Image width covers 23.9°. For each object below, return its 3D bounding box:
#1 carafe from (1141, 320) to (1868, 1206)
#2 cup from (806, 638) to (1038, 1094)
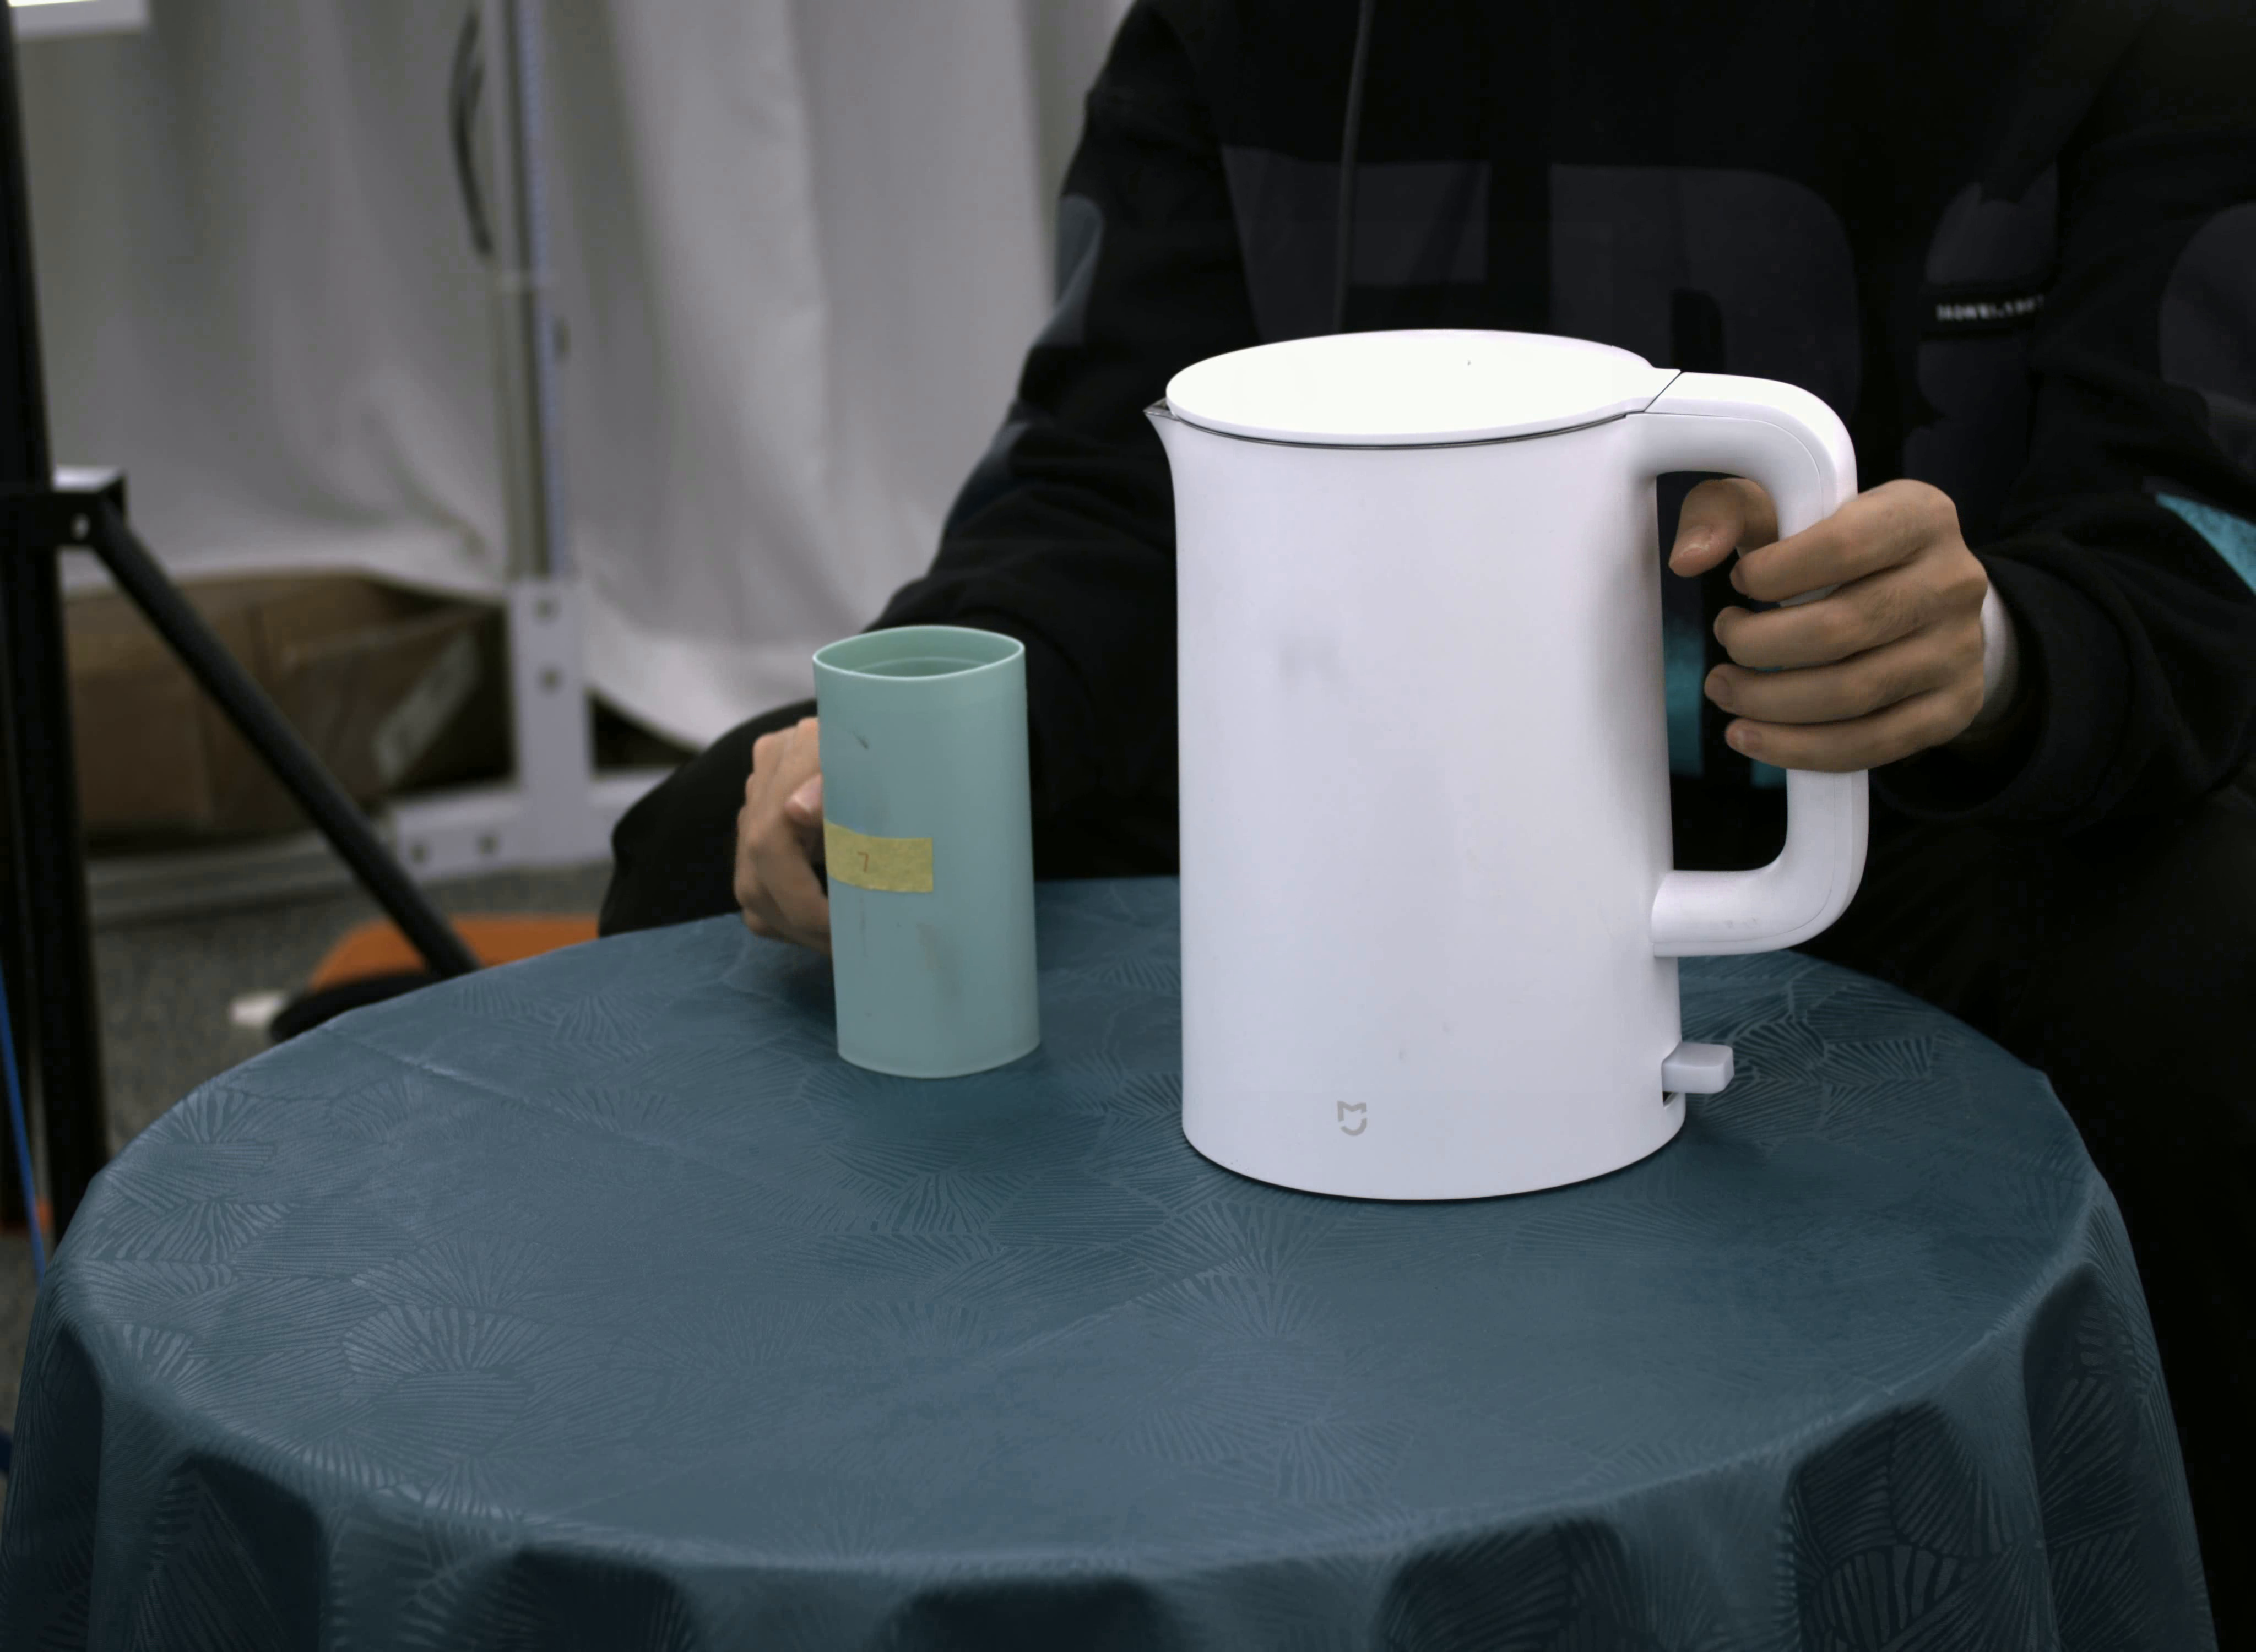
[{"bbox_3d":[0.111,-0.019,1.564,0.215,0.240,0.150,3,17,20],"label":"carafe"},{"bbox_3d":[-0.063,0.011,1.682,0.066,0.132,0.067,-4,15,0],"label":"cup"}]
